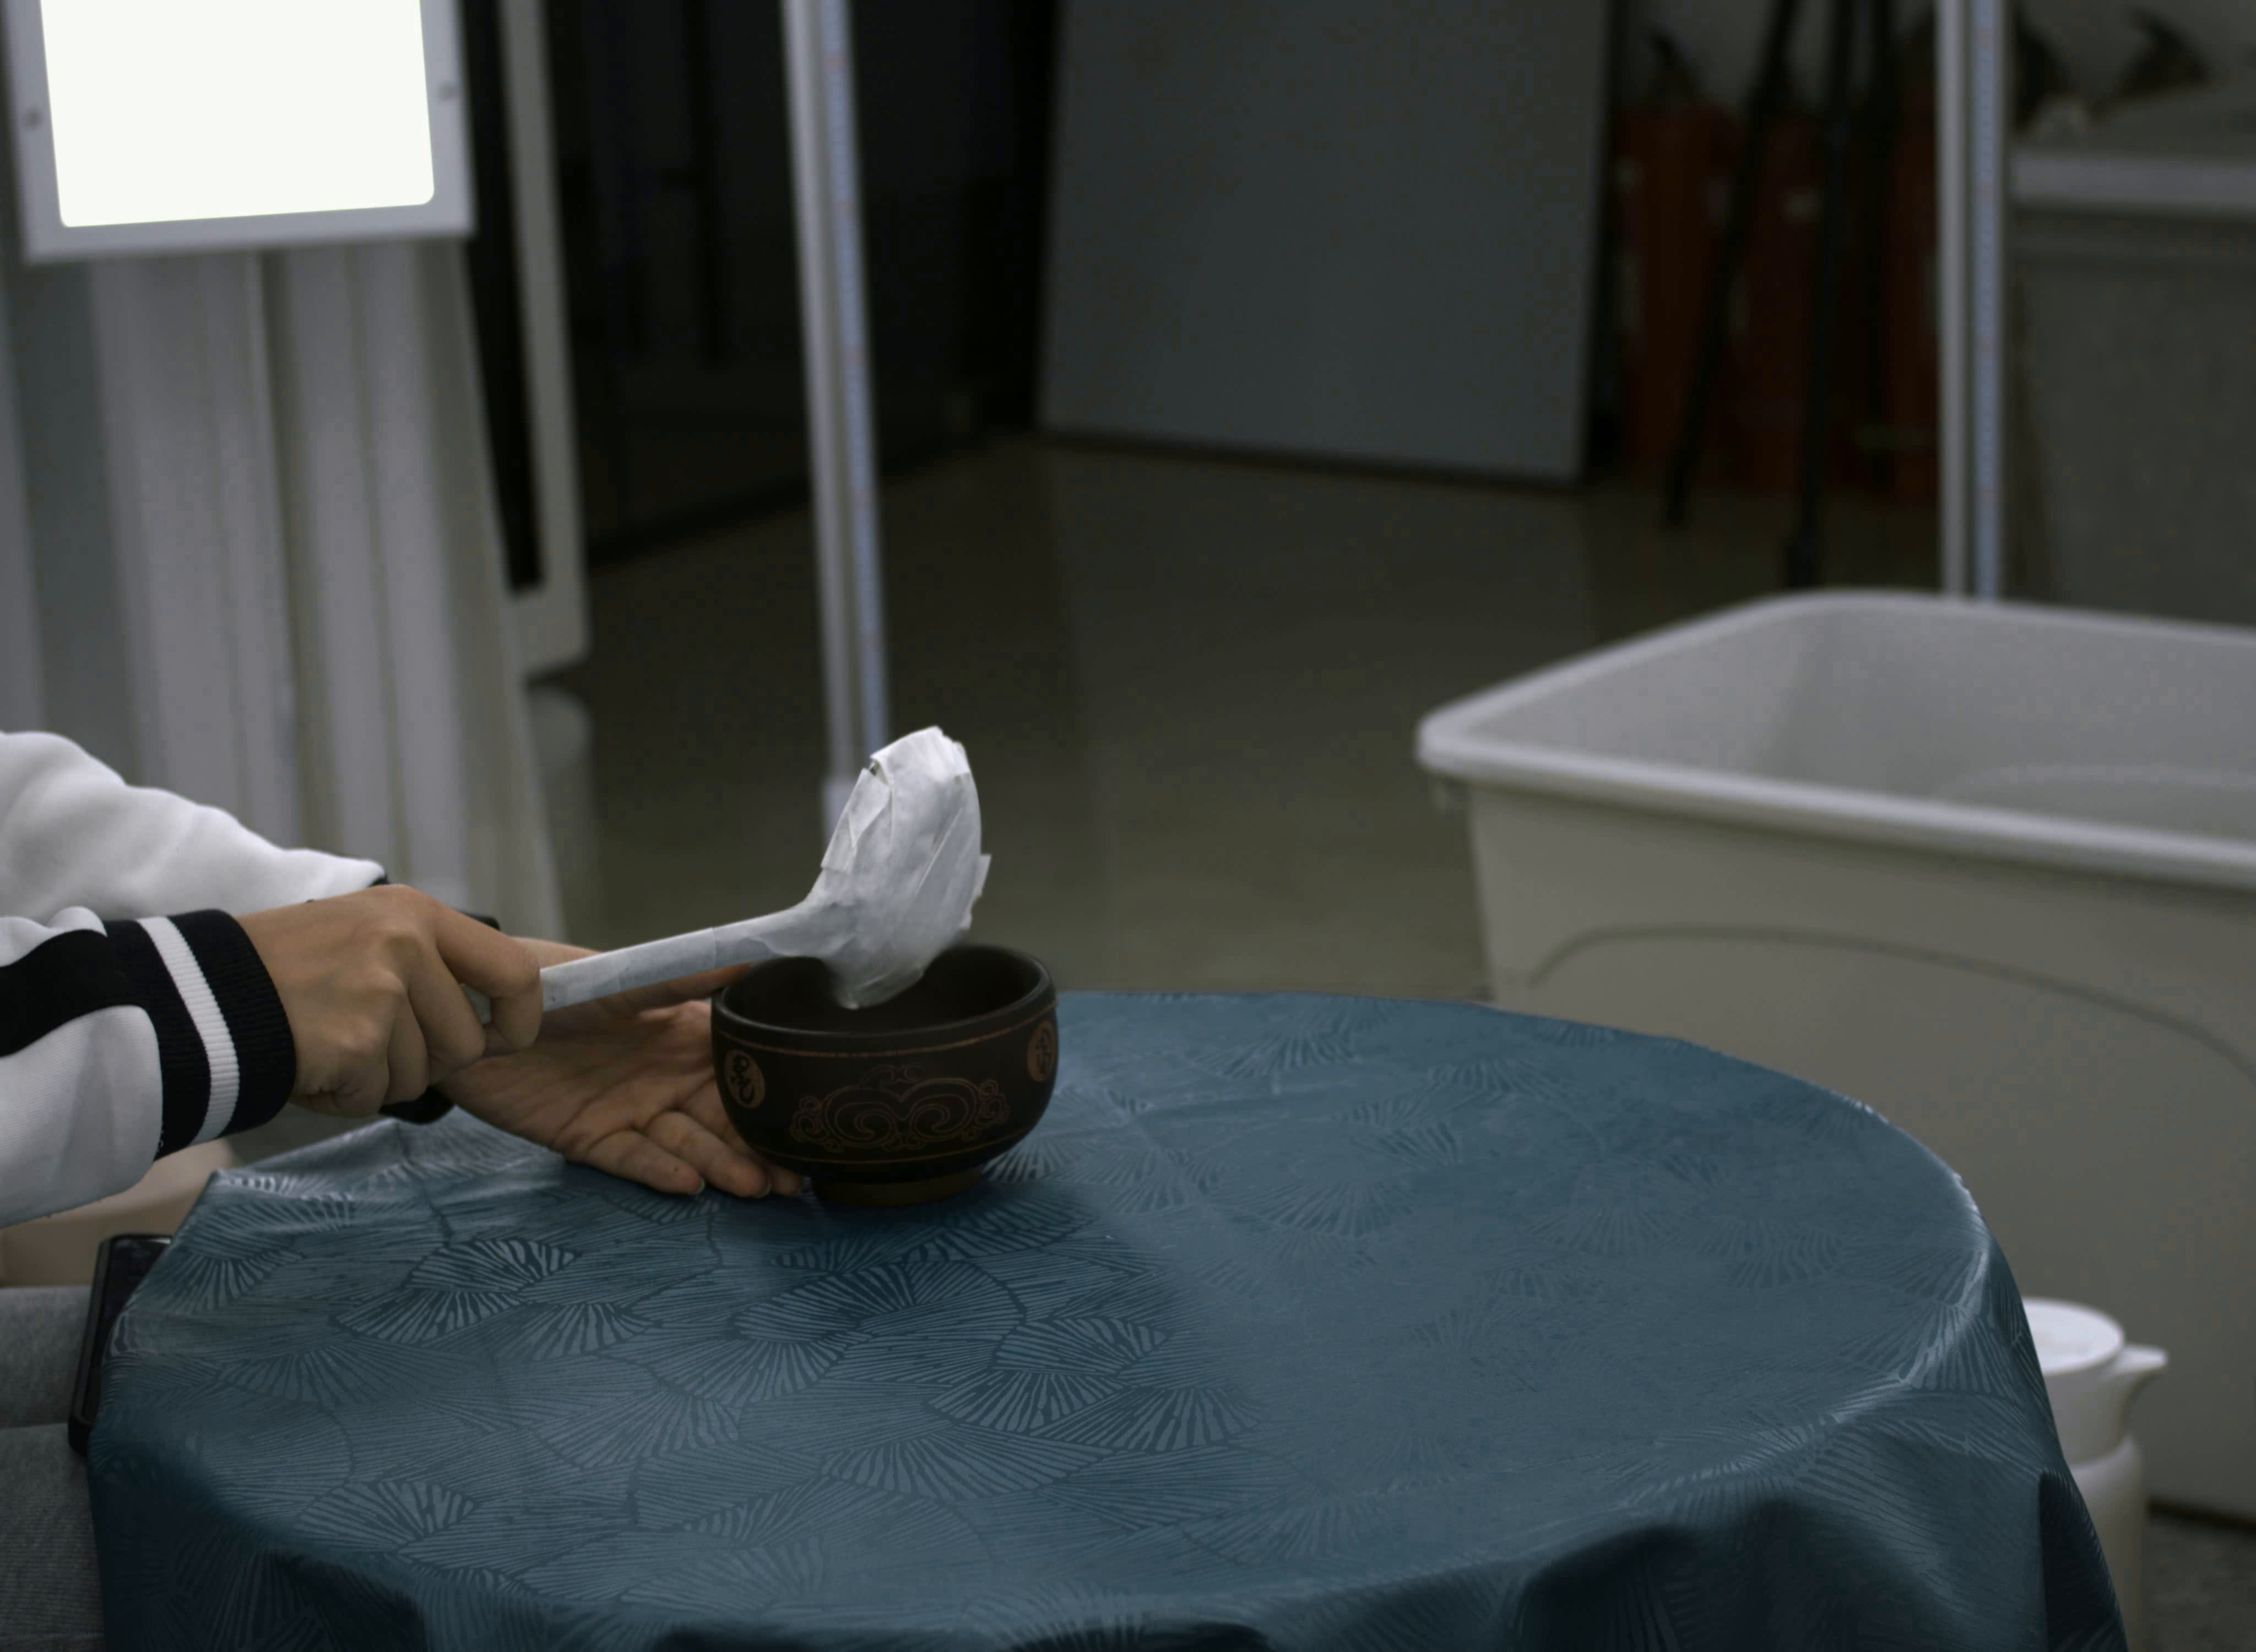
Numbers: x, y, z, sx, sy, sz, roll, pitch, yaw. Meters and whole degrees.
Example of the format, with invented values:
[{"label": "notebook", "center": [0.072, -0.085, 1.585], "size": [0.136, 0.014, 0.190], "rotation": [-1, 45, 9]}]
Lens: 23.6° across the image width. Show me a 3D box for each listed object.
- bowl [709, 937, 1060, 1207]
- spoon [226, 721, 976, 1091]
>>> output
[{"label": "bowl", "center": [-0.079, 0.084, 1.788], "size": [0.116, 0.070, 0.118], "rotation": [-4, 13, 0]}, {"label": "spoon", "center": [-0.164, 0.038, 1.735], "size": [0.272, 0.101, 0.060], "rotation": [-14, 28, -21]}]
